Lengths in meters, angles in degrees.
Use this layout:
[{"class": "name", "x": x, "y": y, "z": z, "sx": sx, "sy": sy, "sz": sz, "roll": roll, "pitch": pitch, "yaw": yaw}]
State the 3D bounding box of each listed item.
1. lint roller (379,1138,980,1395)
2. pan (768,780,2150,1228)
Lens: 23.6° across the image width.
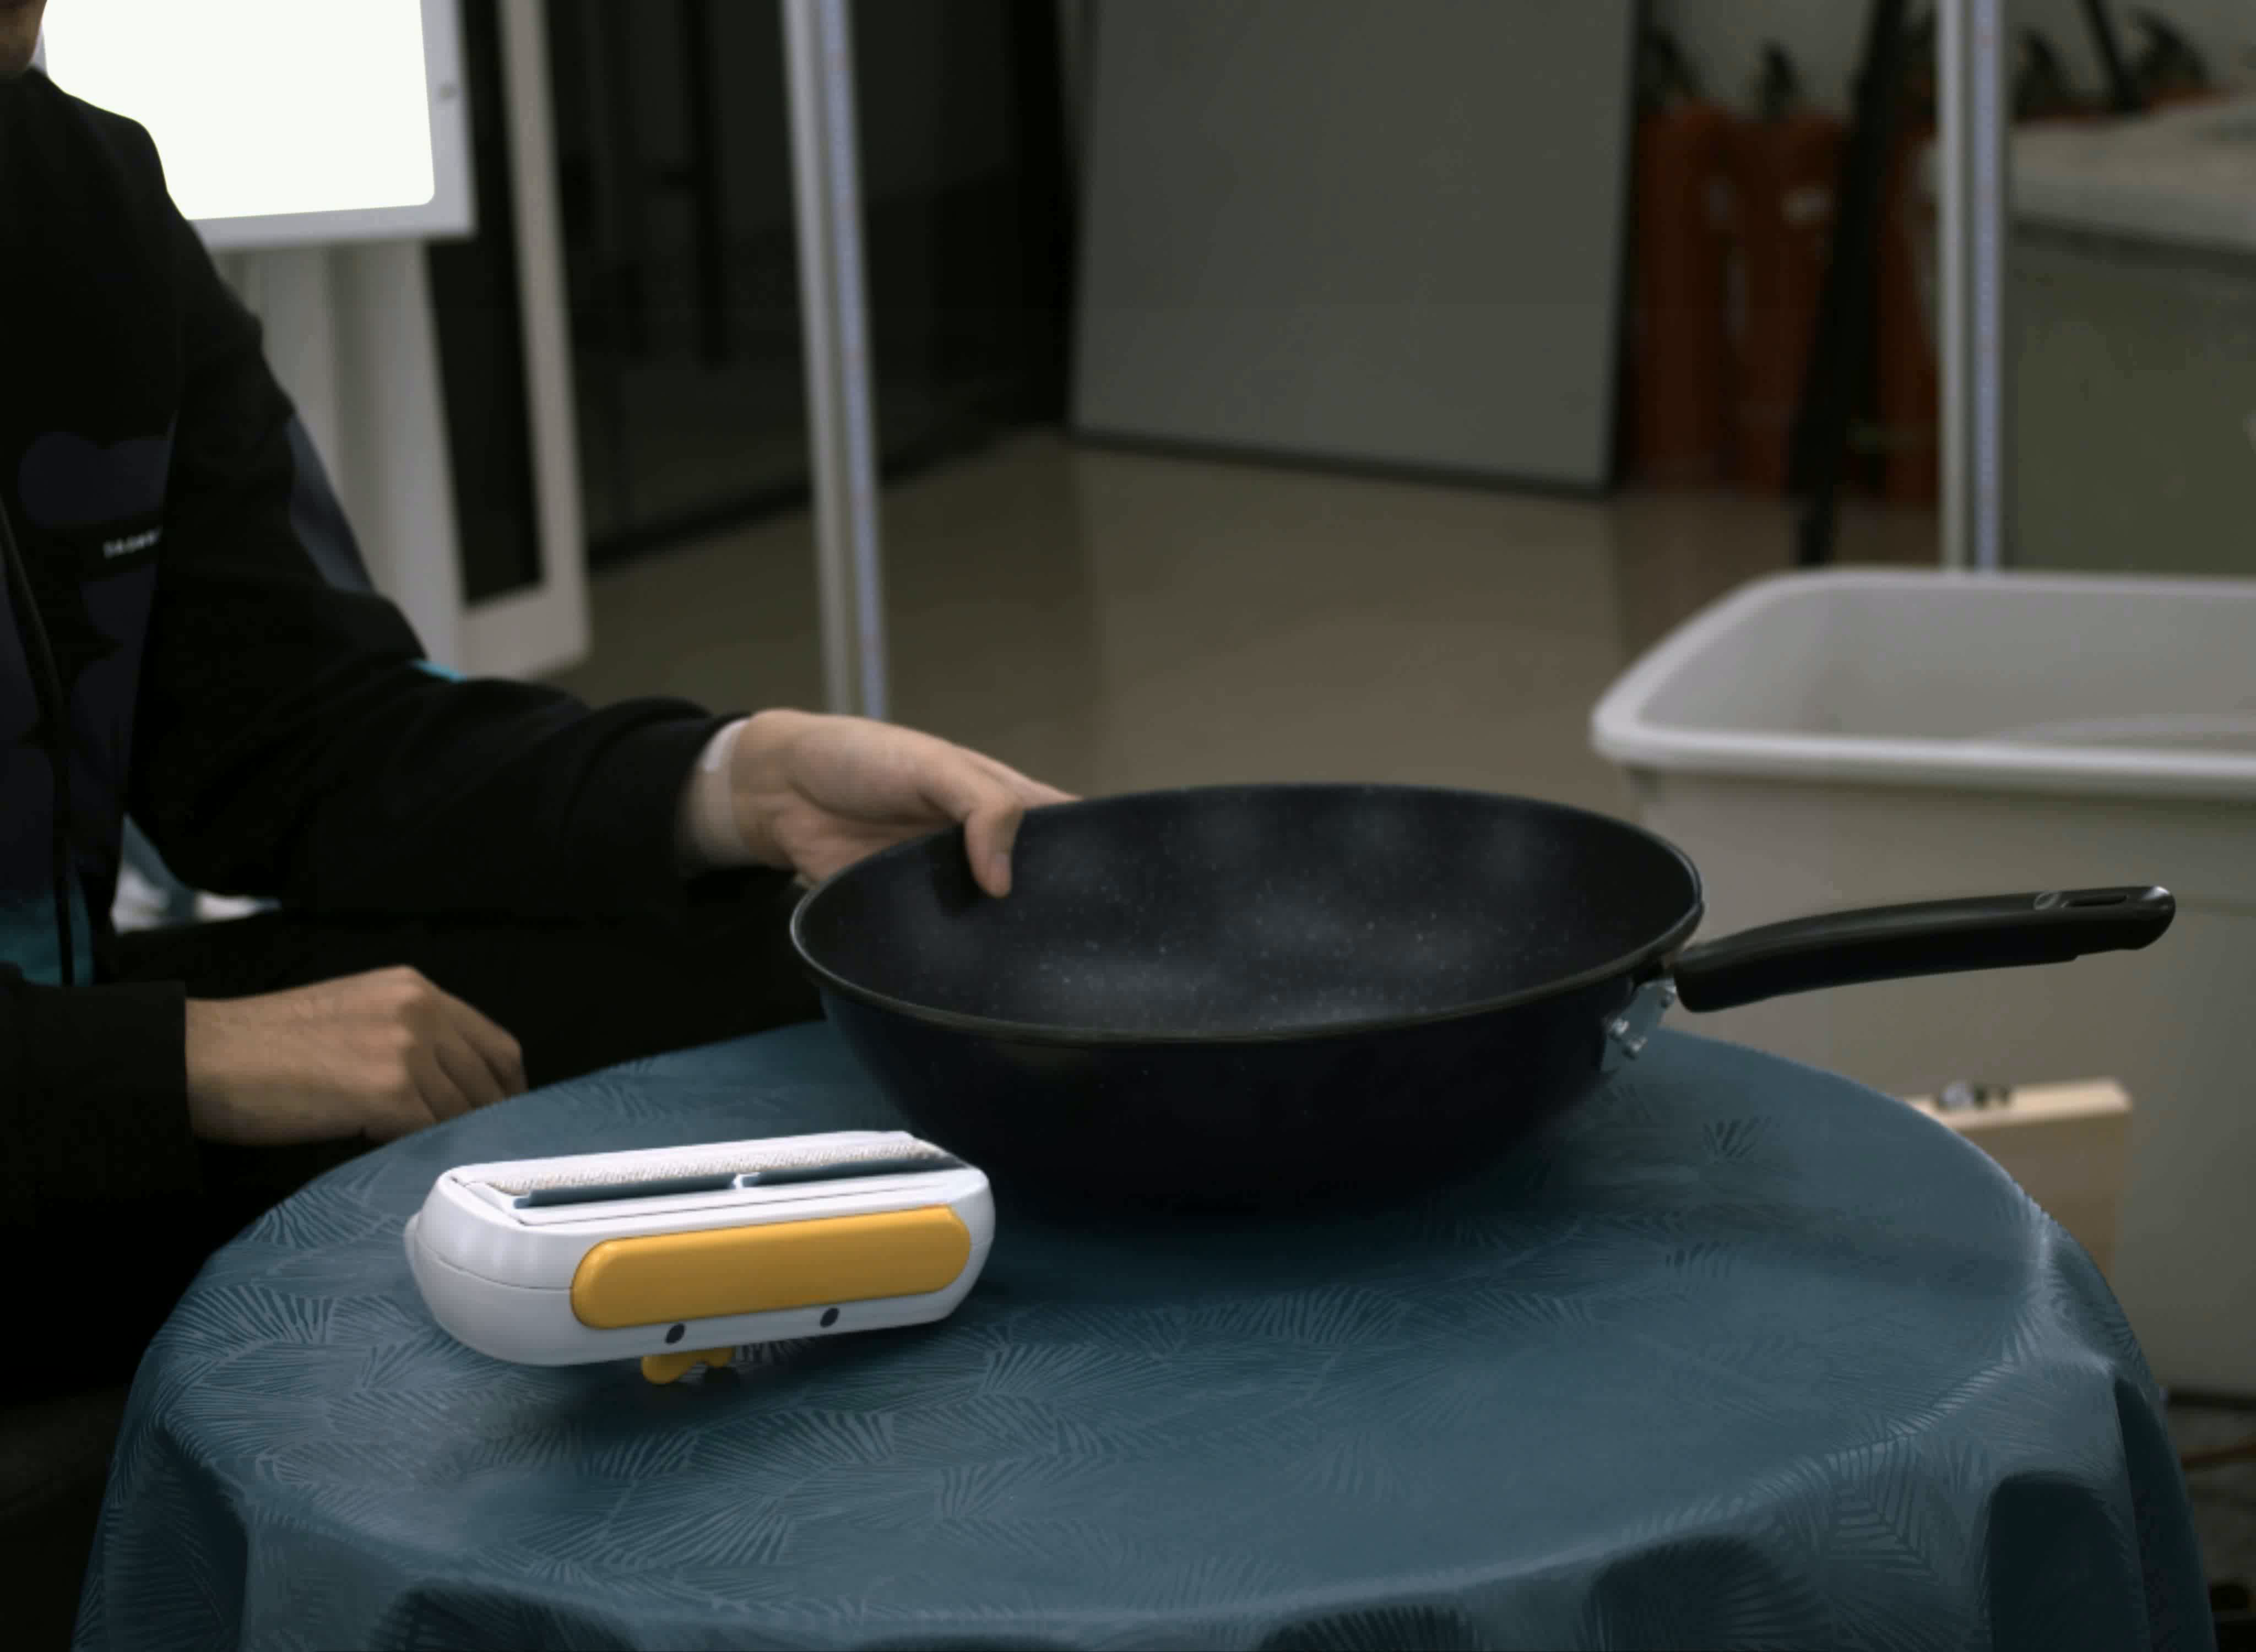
[{"class": "lint roller", "x": -0.164, "y": 0.125, "z": 1.661, "sx": 0.188, "sy": 0.075, "sz": 0.194, "roll": -7, "pitch": 11, "yaw": -34}, {"class": "pan", "x": 0.107, "y": 0.060, "z": 1.764, "sx": 0.478, "sy": 0.113, "sz": 0.306, "roll": 4, "pitch": 18, "yaw": 30}]
